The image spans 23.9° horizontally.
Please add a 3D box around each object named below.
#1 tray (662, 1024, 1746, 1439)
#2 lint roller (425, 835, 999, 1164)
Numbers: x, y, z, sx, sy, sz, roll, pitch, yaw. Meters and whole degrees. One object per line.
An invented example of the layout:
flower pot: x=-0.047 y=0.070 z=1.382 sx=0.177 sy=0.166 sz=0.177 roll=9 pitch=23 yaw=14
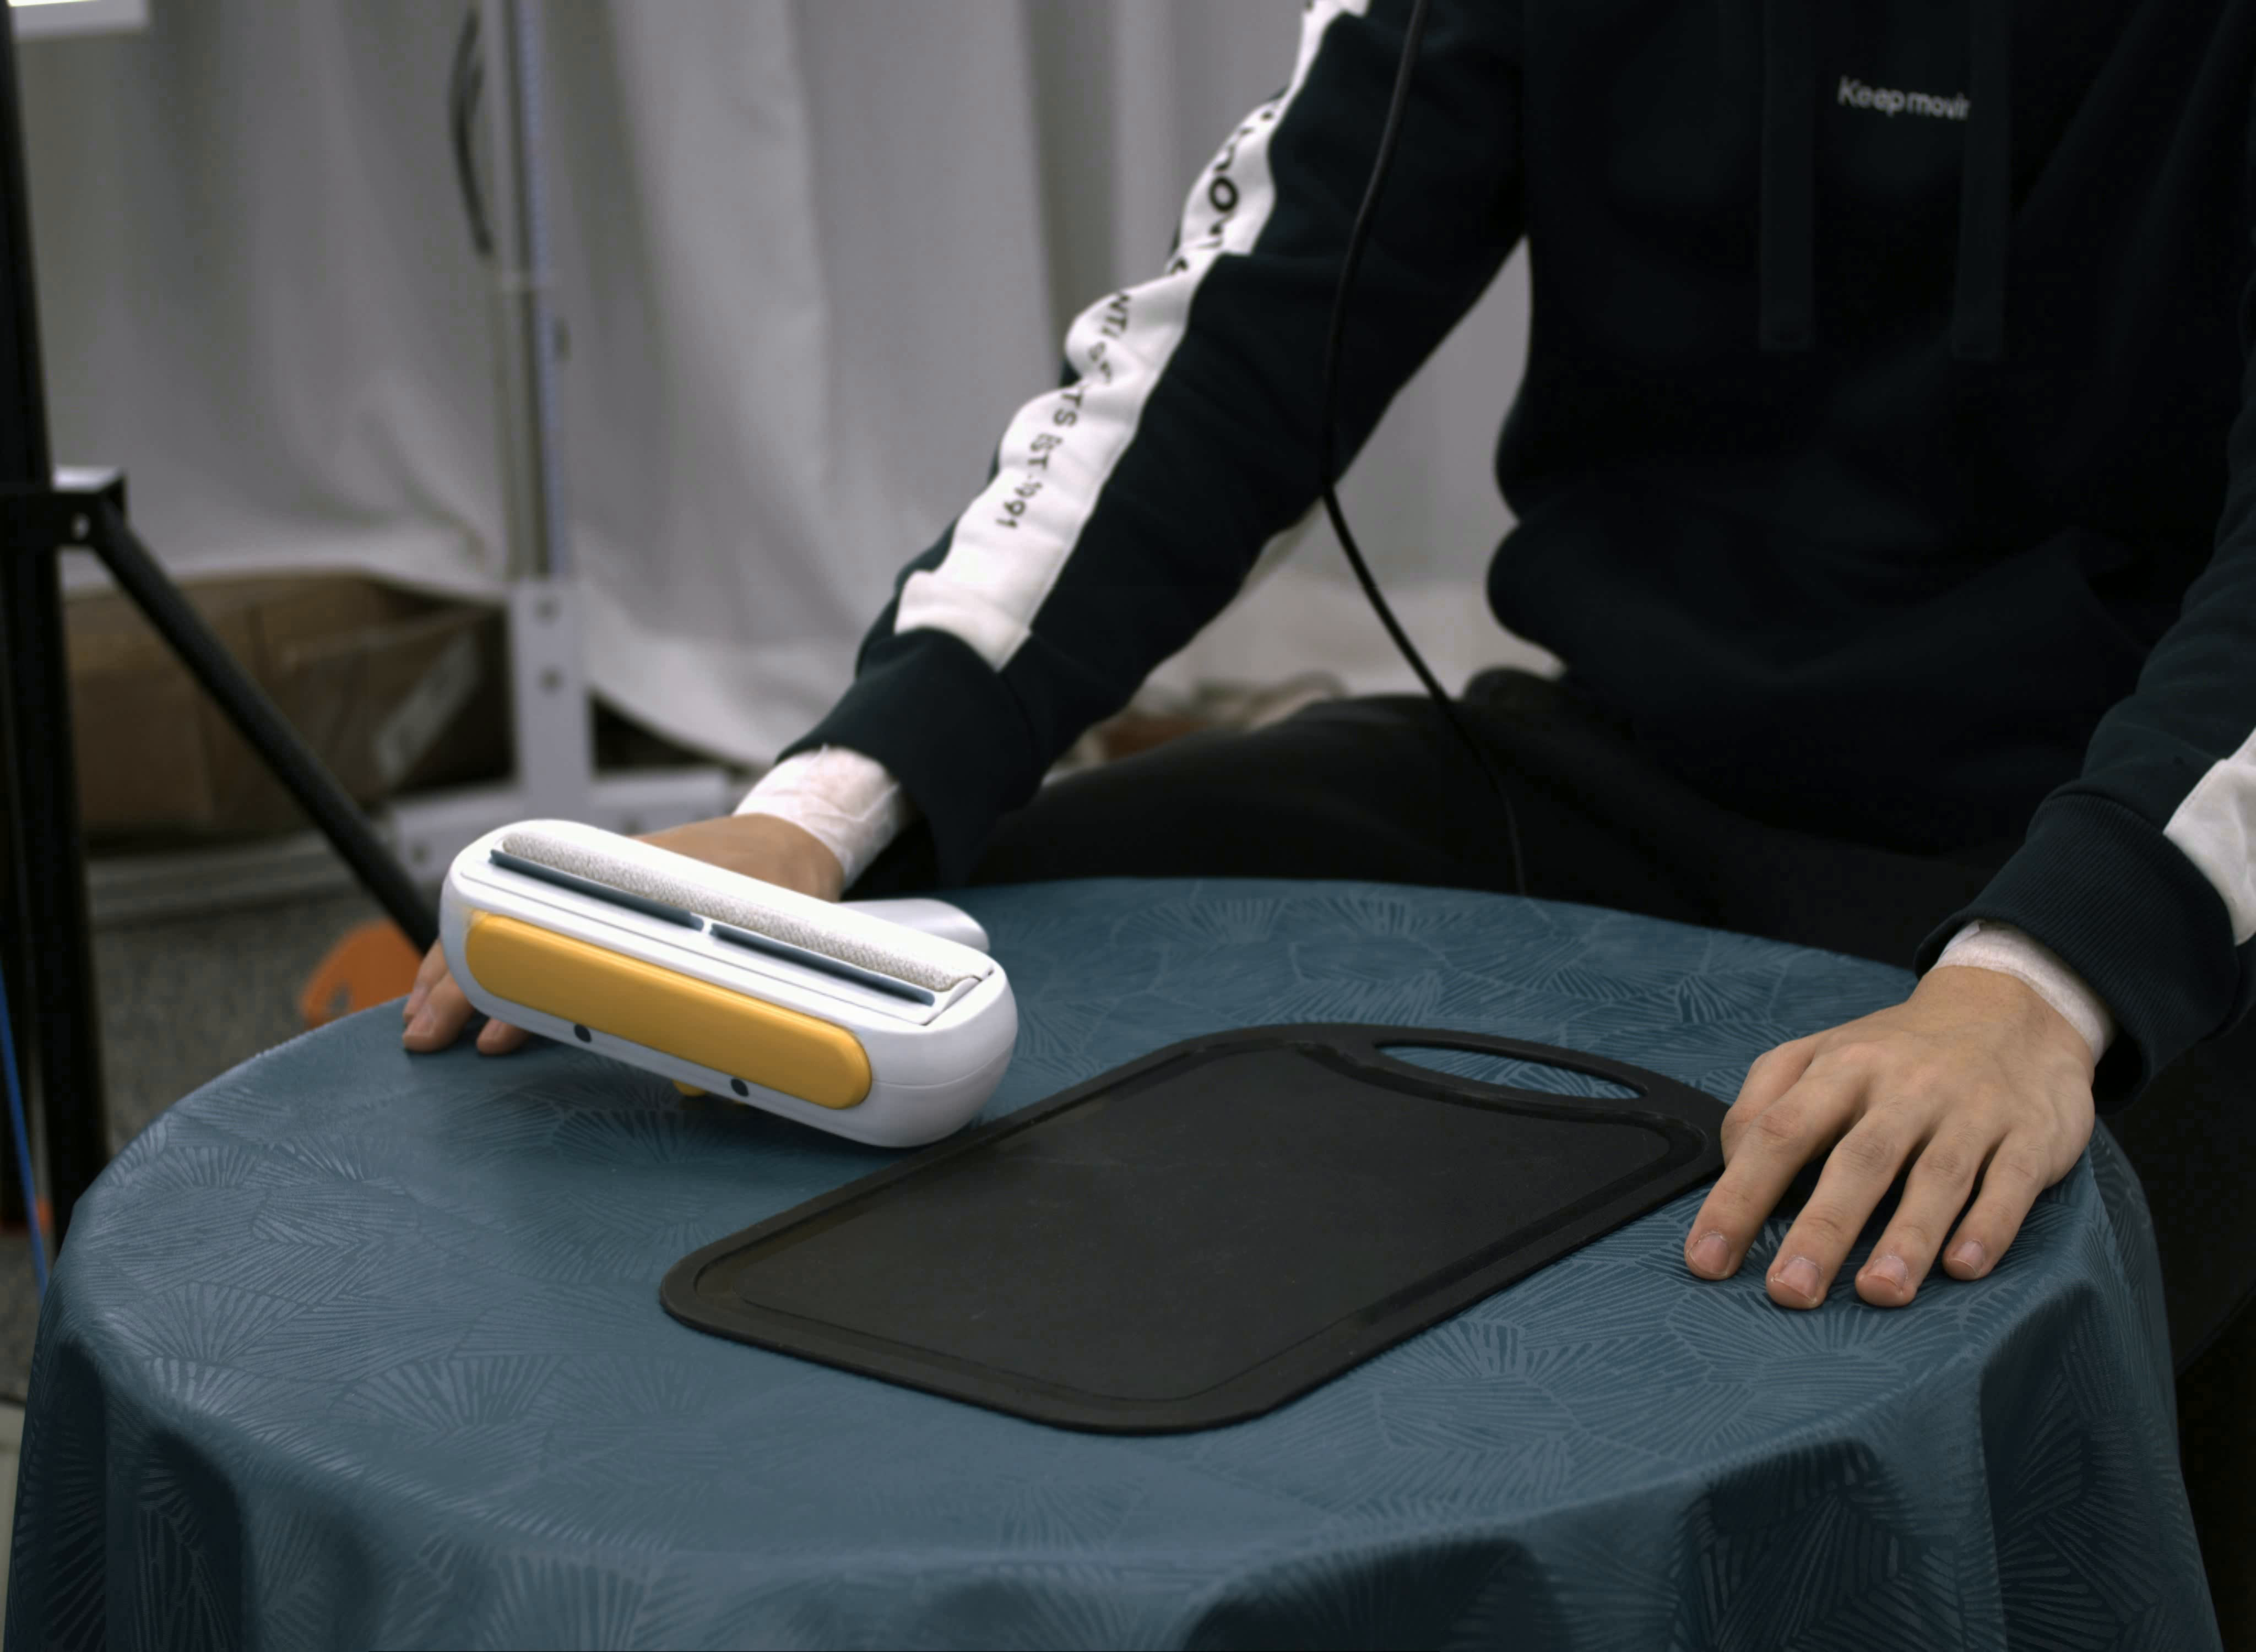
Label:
tray: x=0.031 y=0.108 z=1.541 sx=0.216 sy=0.010 sz=0.318 roll=11 pitch=21 yaw=39
lint roller: x=-0.103 y=0.058 z=1.695 sx=0.197 sy=0.074 sz=0.188 roll=16 pitch=9 yaw=32
